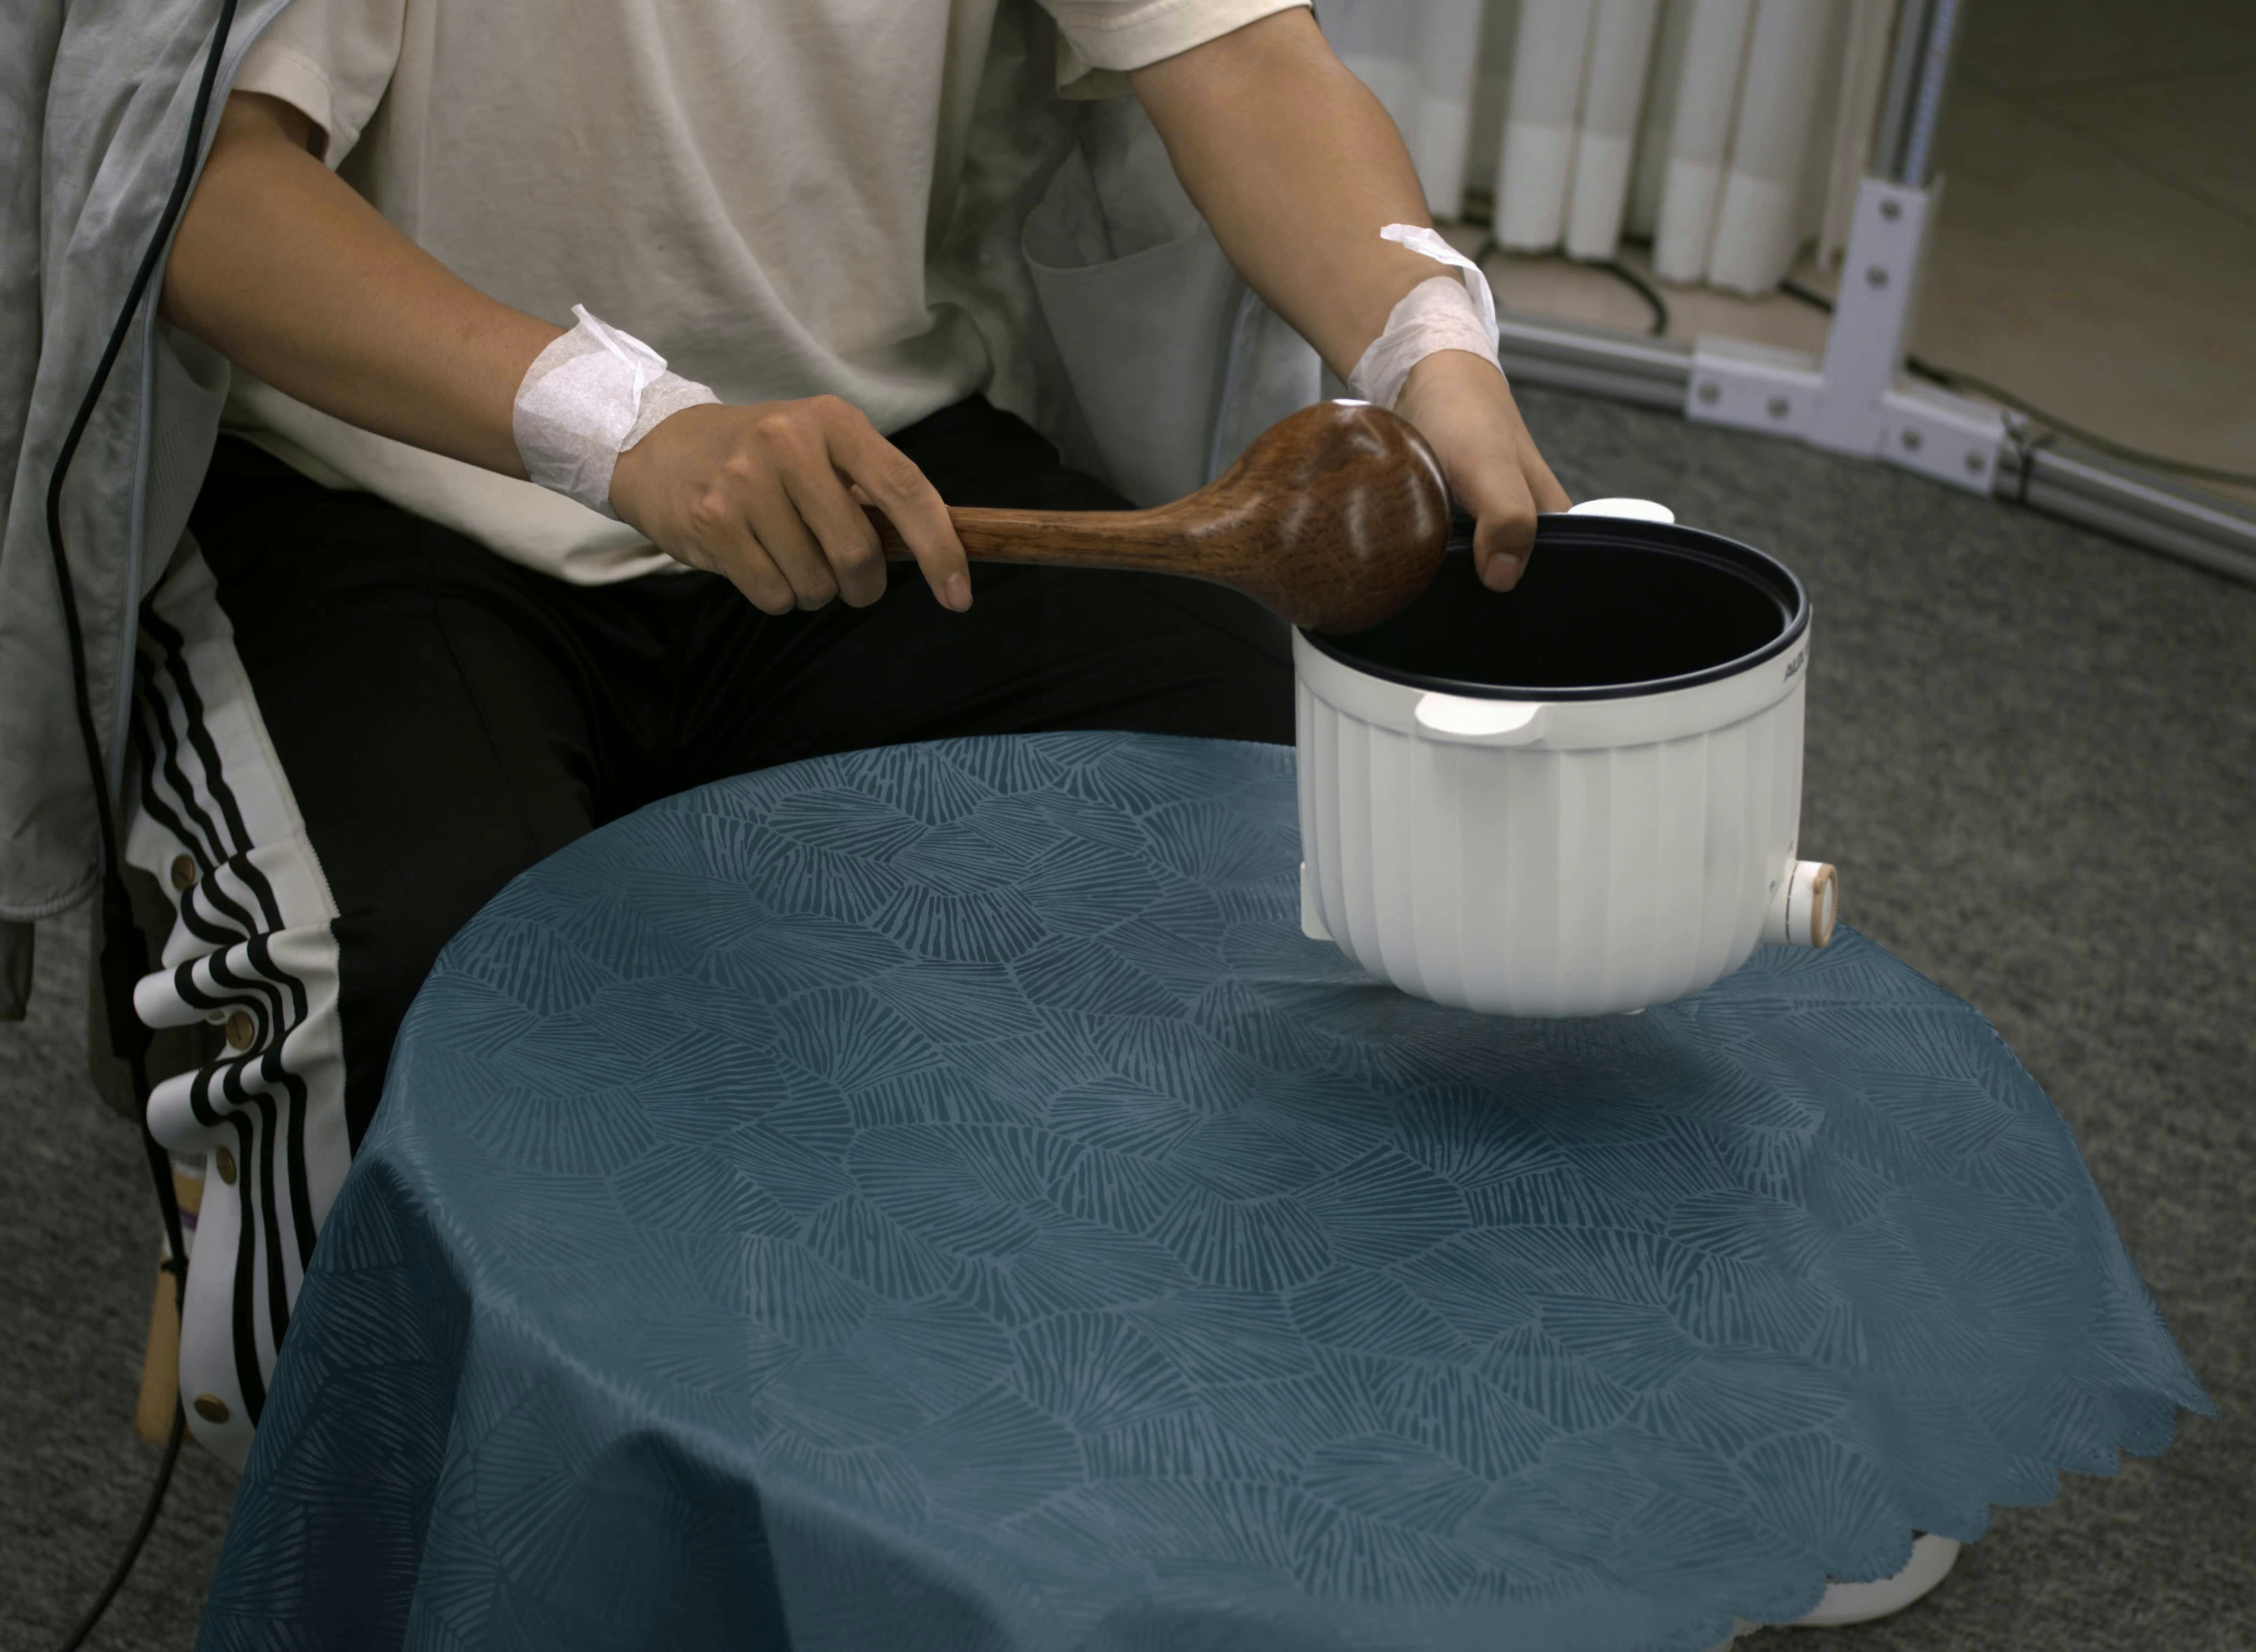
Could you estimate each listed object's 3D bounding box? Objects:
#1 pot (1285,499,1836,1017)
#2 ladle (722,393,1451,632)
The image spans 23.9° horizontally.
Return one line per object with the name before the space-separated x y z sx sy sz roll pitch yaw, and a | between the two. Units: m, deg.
pot | 0.154 -0.019 1.883 0.191 0.142 0.240 2 23 19
ladle | -0.015 -0.107 1.884 0.275 0.082 0.076 0 12 35
